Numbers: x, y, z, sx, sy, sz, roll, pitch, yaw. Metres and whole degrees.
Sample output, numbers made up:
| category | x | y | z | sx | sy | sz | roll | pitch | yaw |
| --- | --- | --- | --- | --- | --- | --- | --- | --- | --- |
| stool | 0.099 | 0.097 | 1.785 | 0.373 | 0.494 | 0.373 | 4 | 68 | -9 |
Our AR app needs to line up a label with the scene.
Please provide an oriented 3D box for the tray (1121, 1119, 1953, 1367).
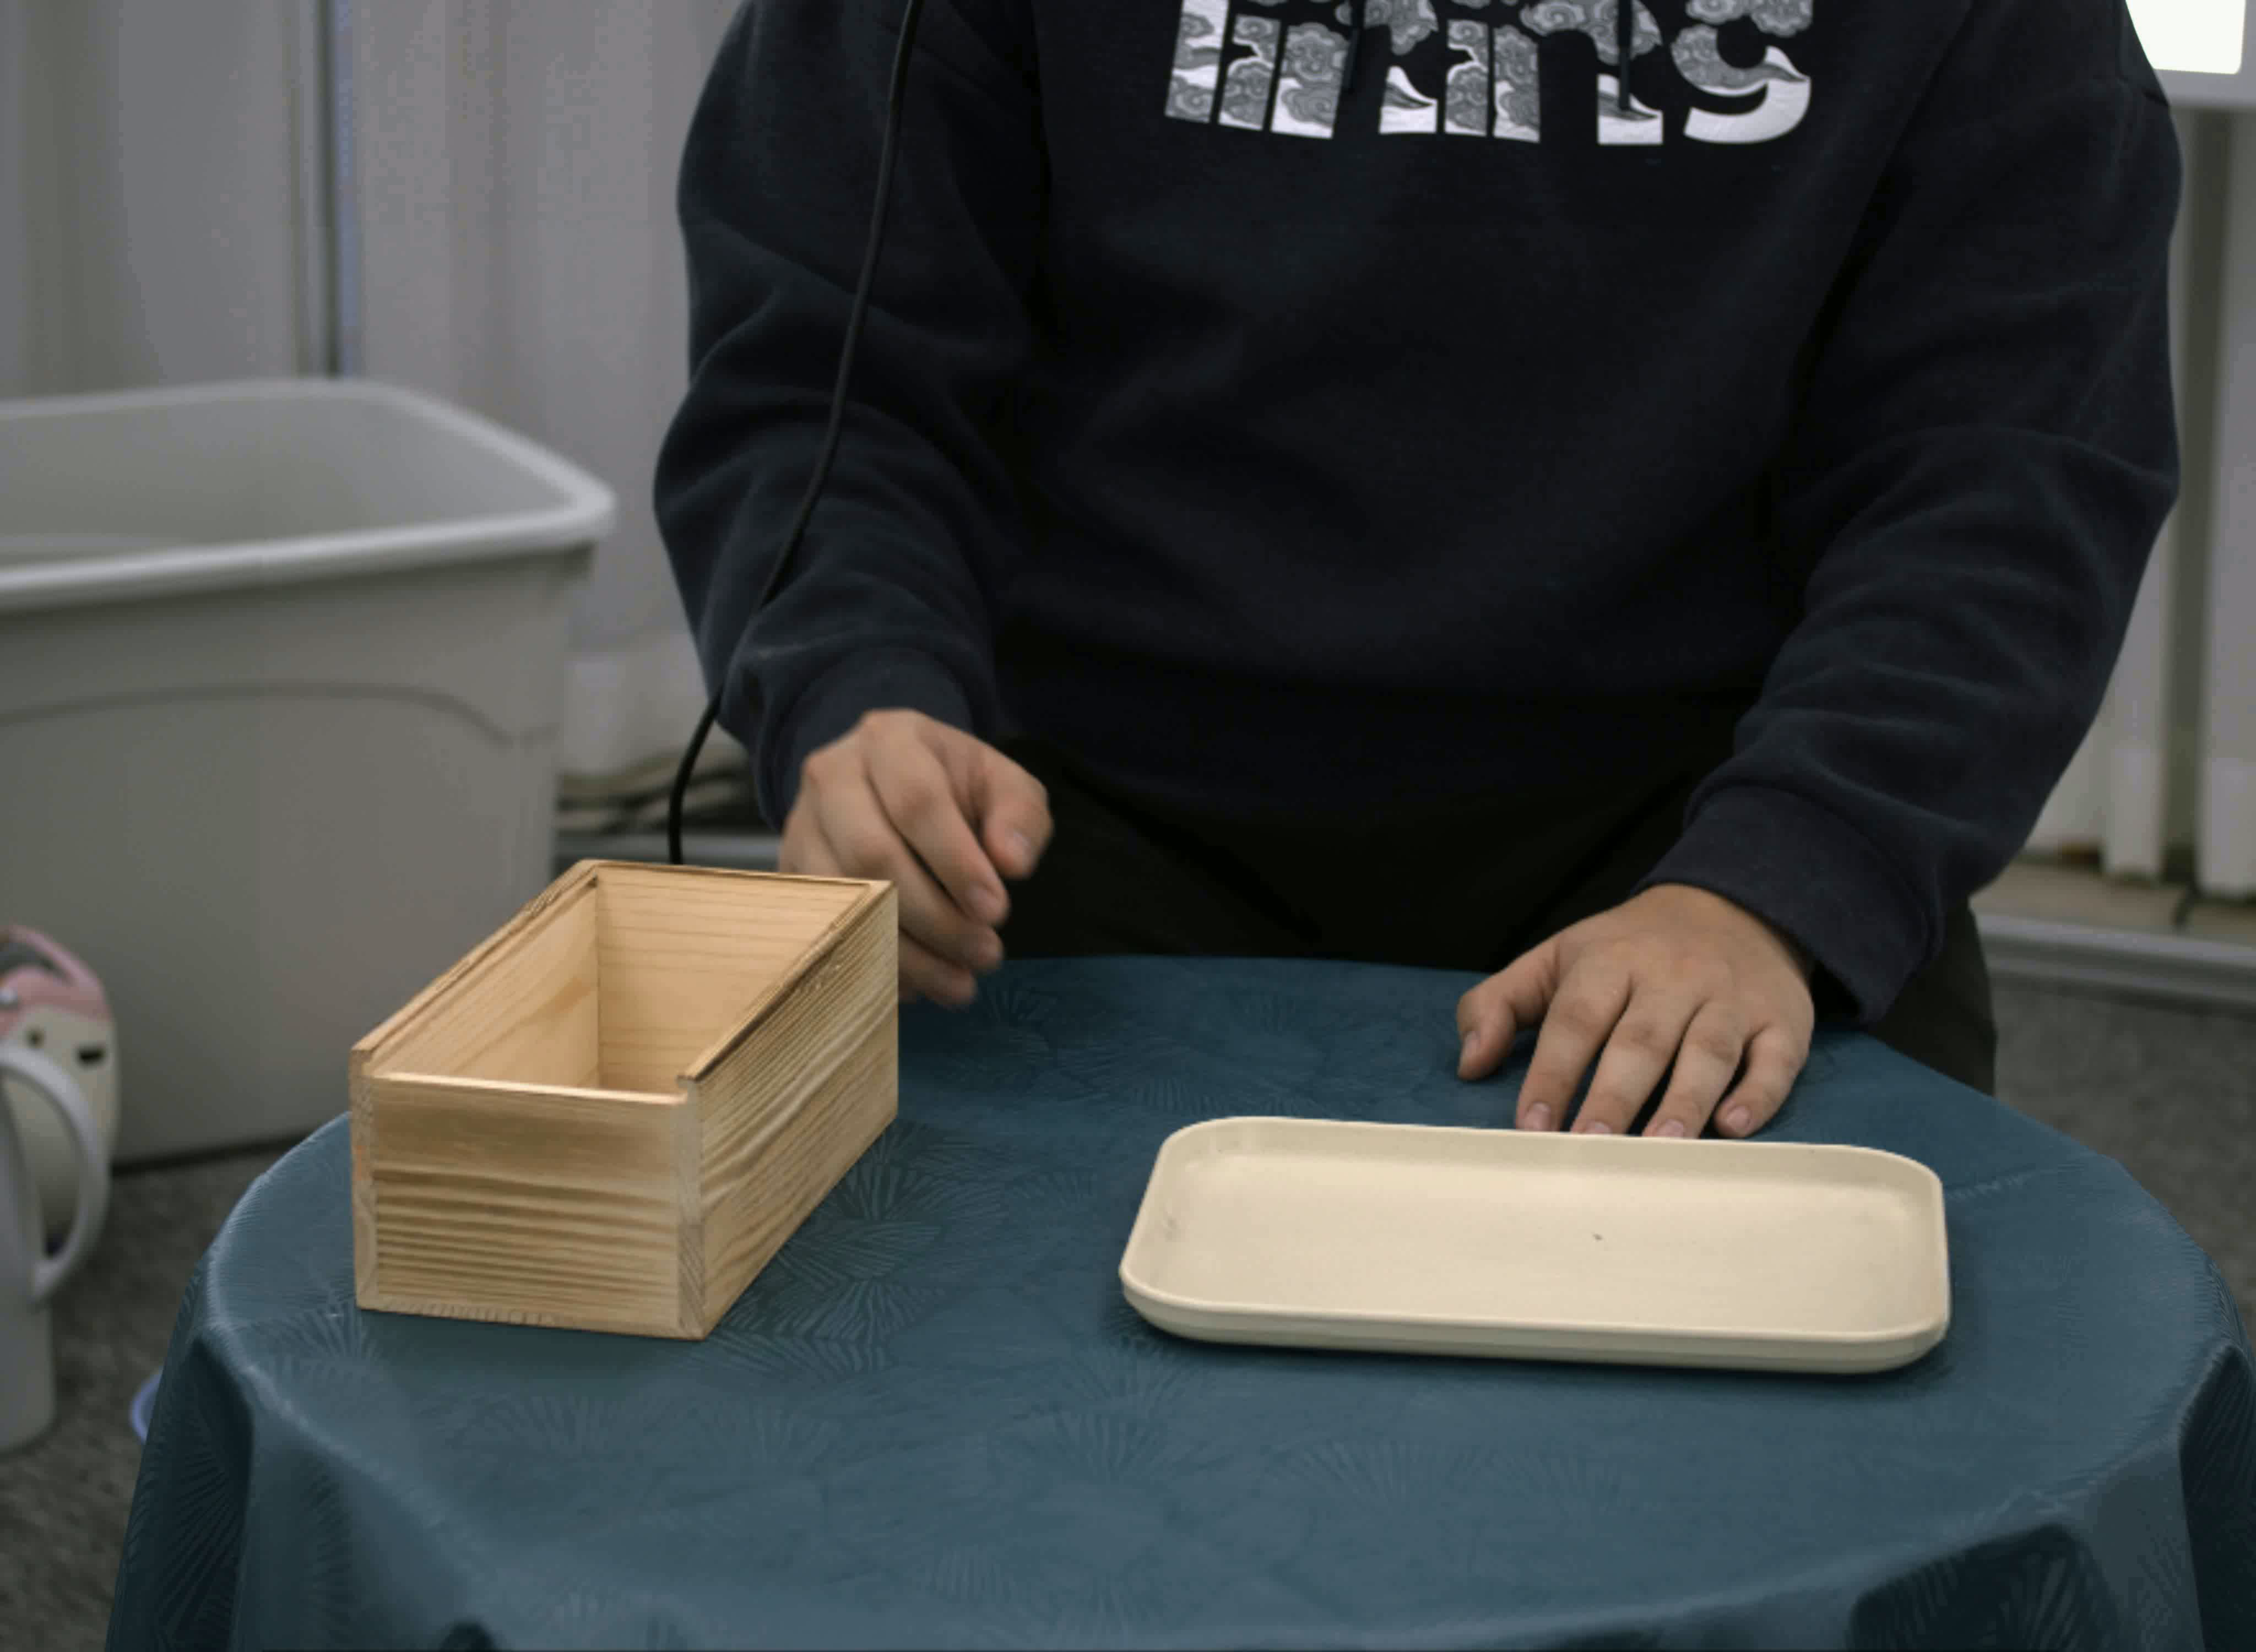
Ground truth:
| category | x | y | z | sx | sy | sz | roll | pitch | yaw |
| --- | --- | --- | --- | --- | --- | --- | --- | --- | --- |
| tray | 0.122 | 0.123 | 1.560 | 0.238 | 0.017 | 0.171 | 2 | 15 | 6 |

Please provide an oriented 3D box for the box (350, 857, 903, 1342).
| category | x | y | z | sx | sy | sz | roll | pitch | yaw |
| --- | --- | --- | --- | --- | --- | --- | --- | --- | --- |
| box | -0.147 | 0.078 | 1.592 | 0.107 | 0.081 | 0.211 | 5 | 16 | 12 |
